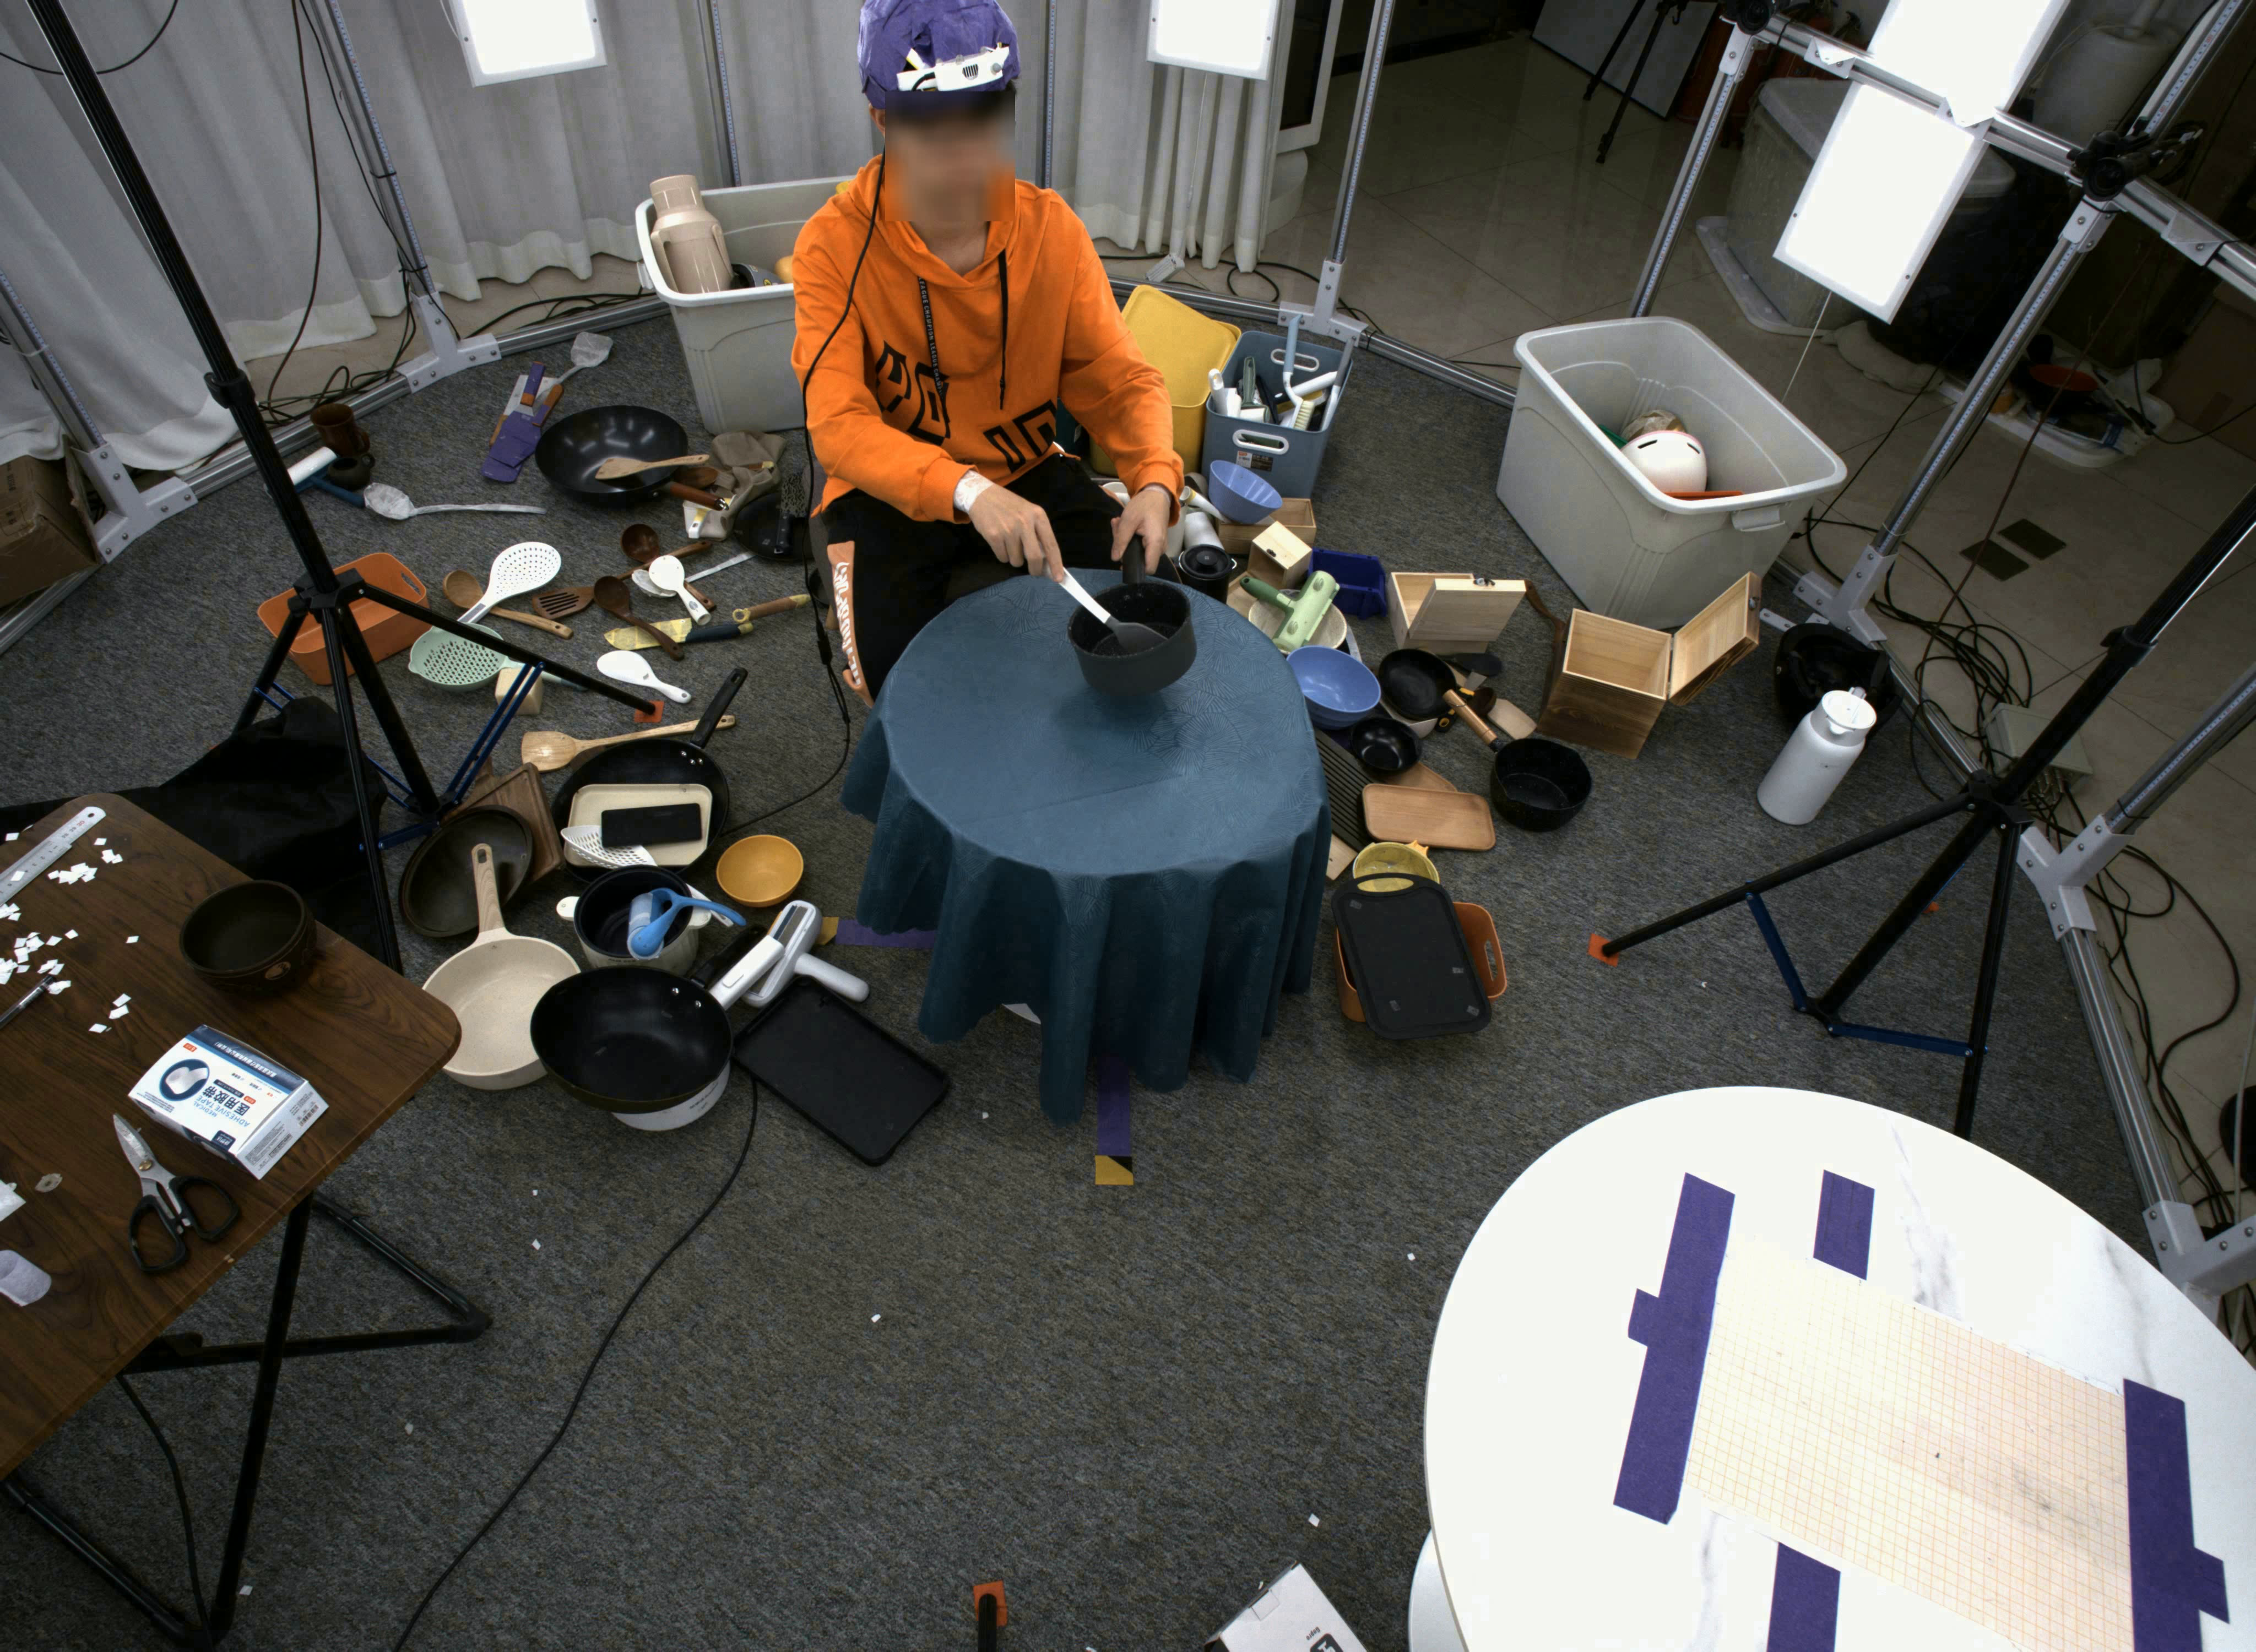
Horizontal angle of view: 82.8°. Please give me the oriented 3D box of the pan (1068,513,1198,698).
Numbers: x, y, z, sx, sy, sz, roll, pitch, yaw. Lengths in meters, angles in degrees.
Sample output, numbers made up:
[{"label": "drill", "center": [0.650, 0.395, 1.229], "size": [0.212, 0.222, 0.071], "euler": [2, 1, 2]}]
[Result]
[{"label": "pan", "center": [0.014, -0.315, 1.816], "size": [0.172, 0.084, 0.337], "euler": [-6, 45, 11]}]

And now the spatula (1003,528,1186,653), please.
[{"label": "spatula", "center": [-0.048, -0.307, 1.743], "size": [0.289, 0.058, 0.032], "euler": [38, 31, 7]}]
